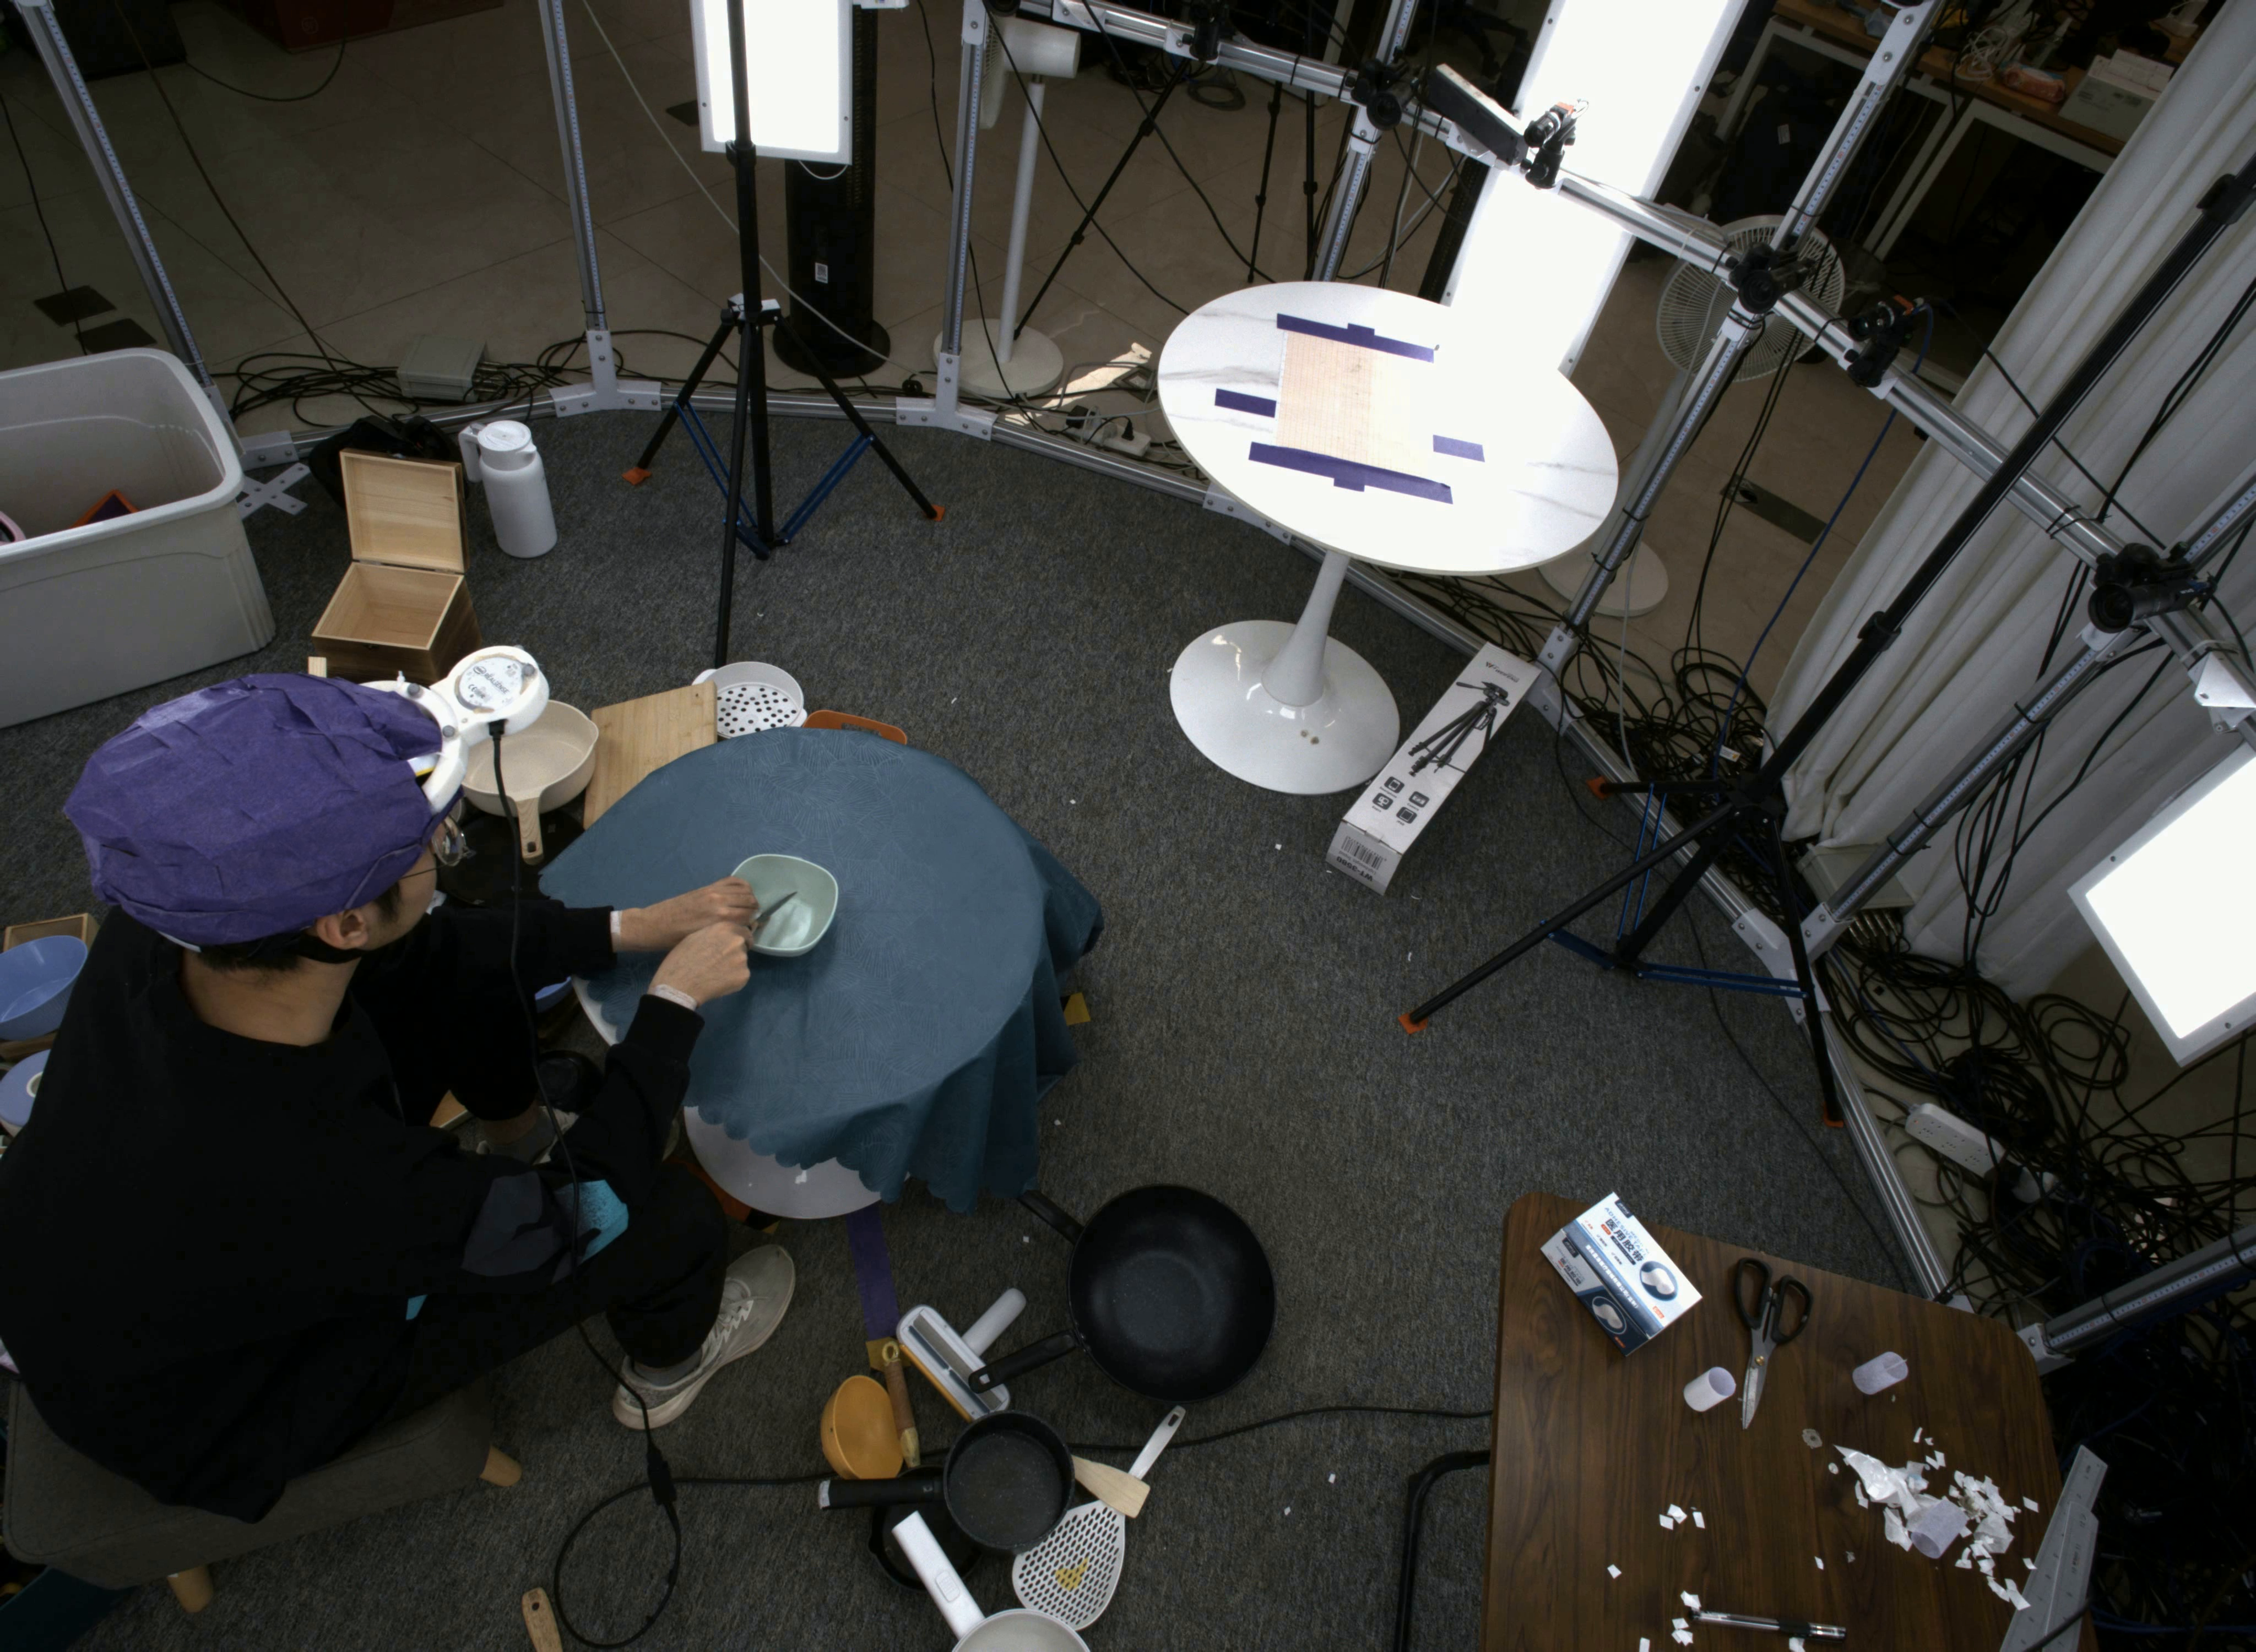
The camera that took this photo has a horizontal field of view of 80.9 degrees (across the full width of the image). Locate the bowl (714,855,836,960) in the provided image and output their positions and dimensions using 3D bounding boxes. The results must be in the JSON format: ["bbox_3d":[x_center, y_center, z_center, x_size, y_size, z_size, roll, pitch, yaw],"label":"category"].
[{"bbox_3d":[-0.433,0.109,1.595,0.151,0.060,0.149,9,52,-10],"label":"bowl"}]

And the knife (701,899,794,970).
[{"bbox_3d":[-0.444,0.118,1.526,0.017,0.026,0.224,29,21,3],"label":"knife"}]
